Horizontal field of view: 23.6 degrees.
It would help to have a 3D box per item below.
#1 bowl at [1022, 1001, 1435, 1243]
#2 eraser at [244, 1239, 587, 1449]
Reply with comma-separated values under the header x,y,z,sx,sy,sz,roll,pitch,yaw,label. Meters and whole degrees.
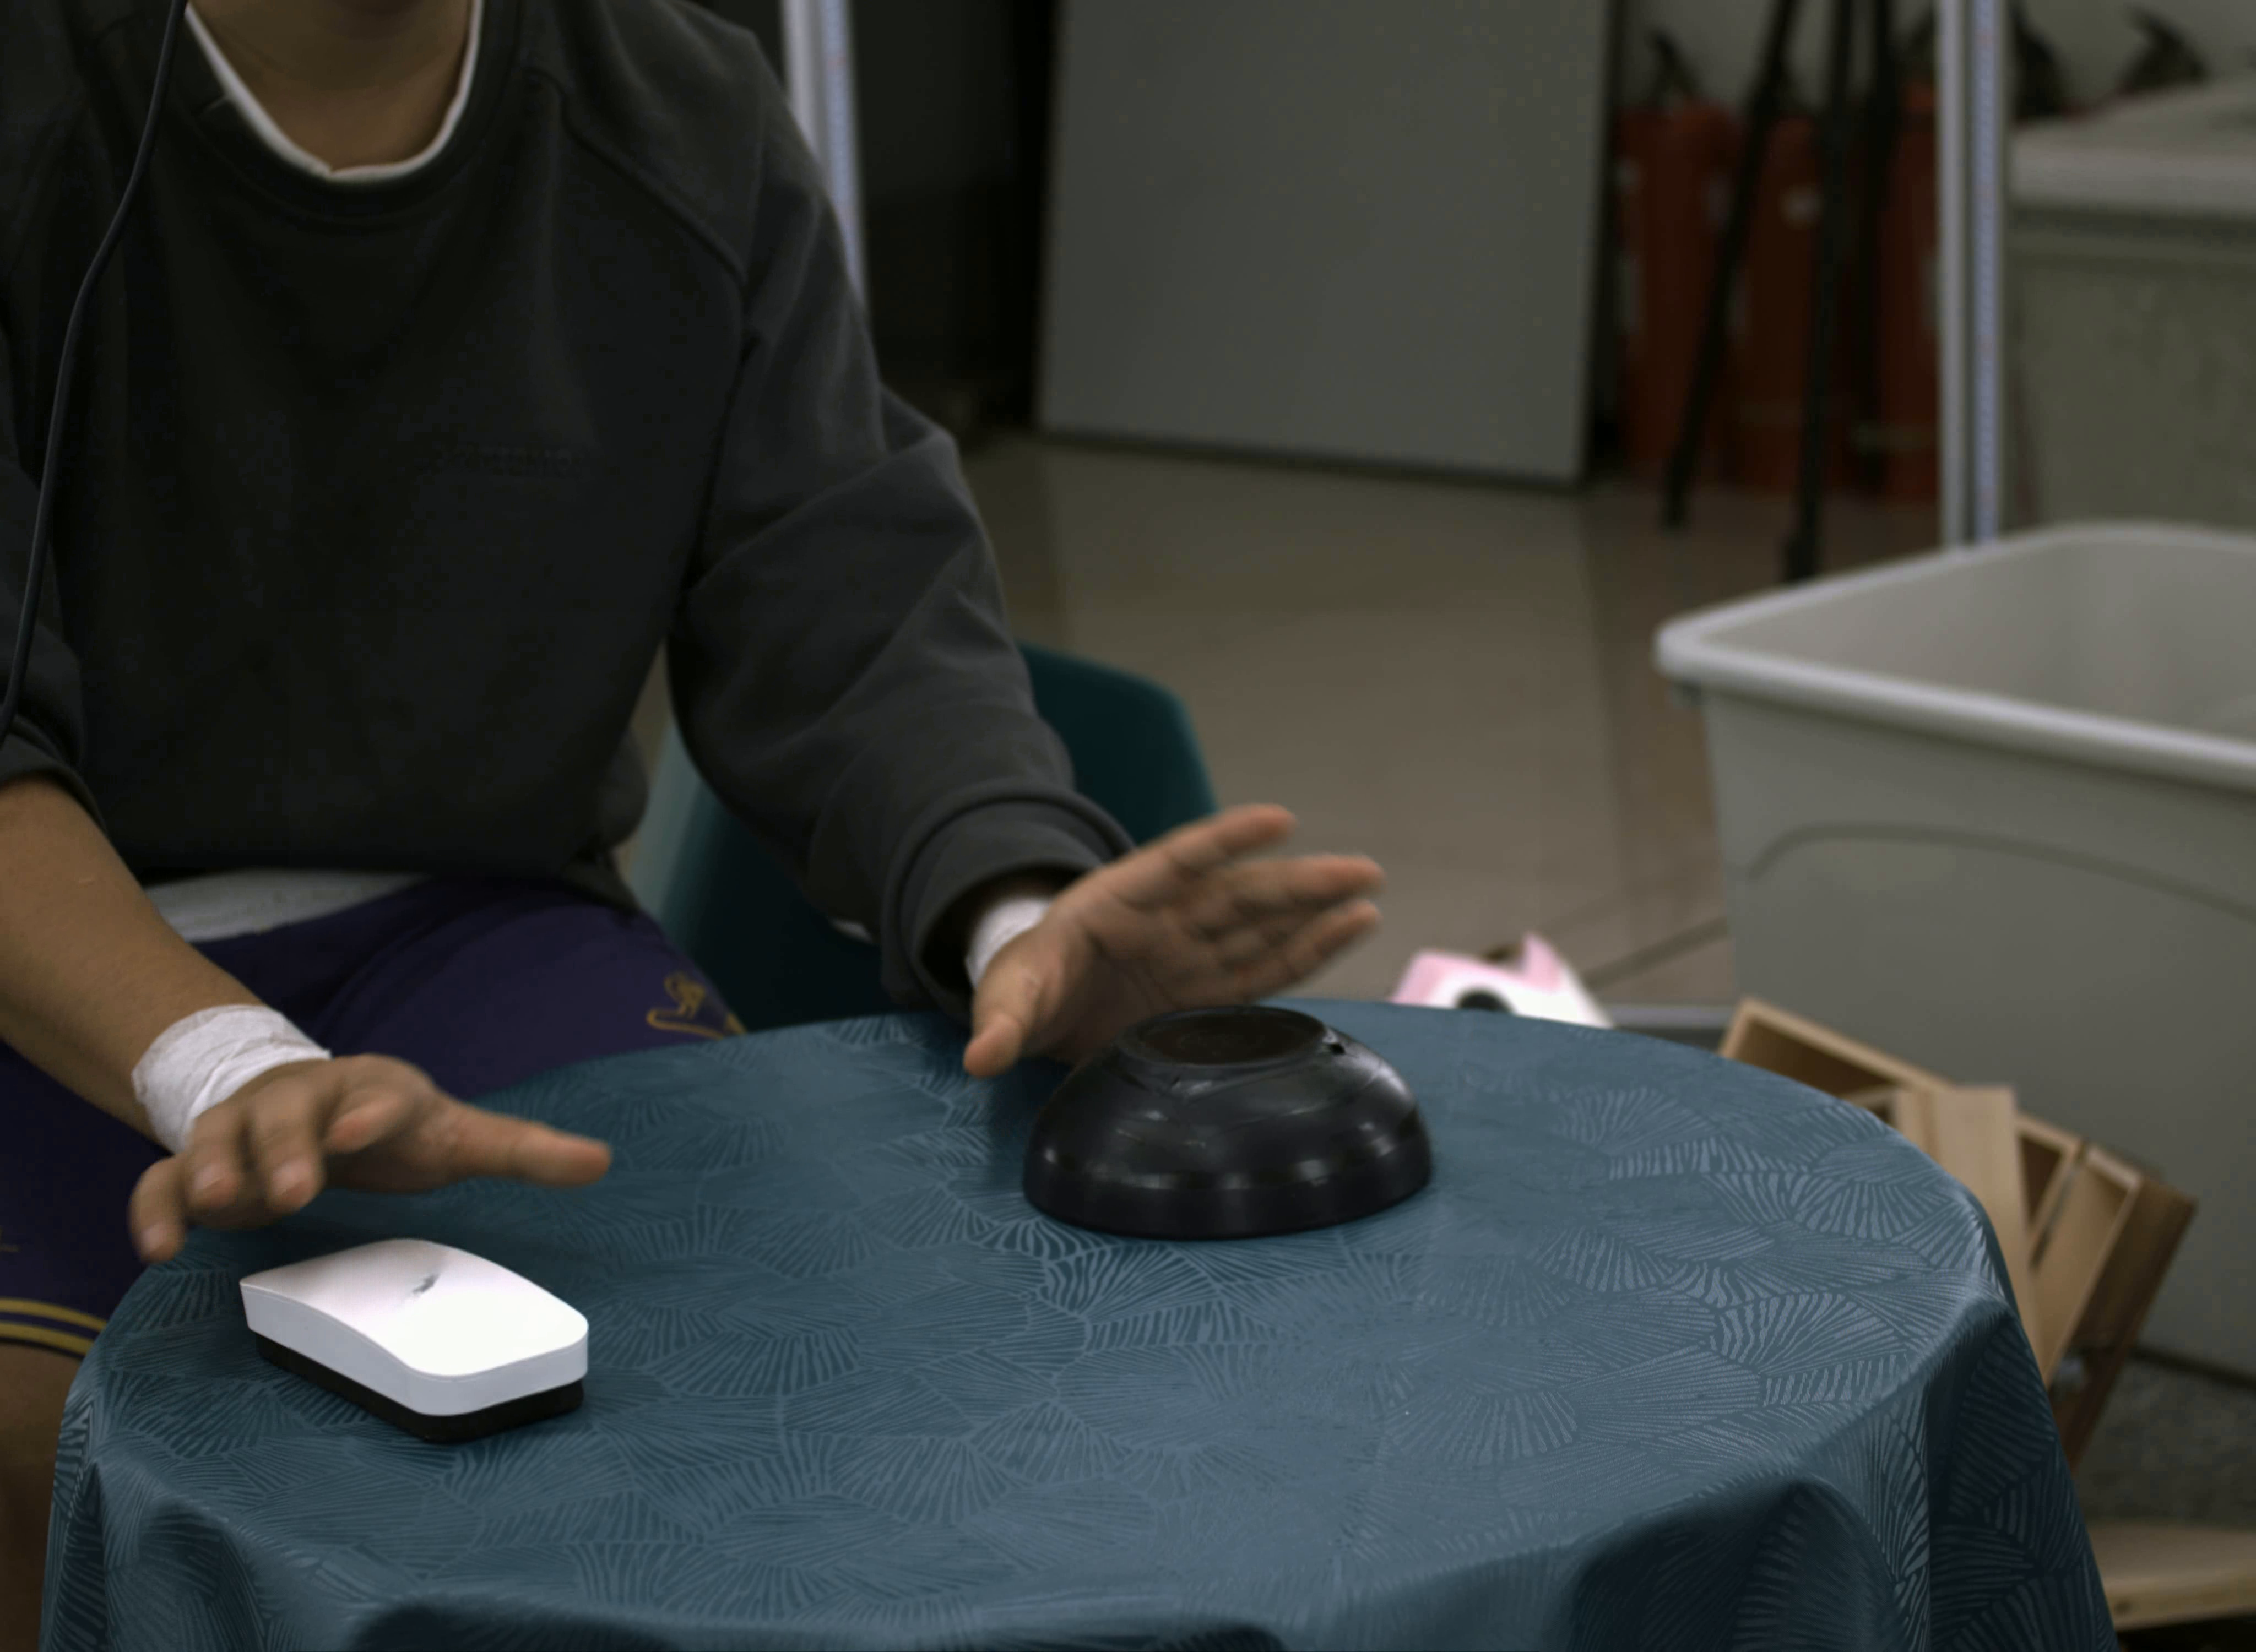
x,y,z,sx,sy,sz,roll,pitch,yaw,label
0.032,0.091,1.773,0.138,0.050,0.140,-4,15,0,bowl
-0.214,0.152,1.635,0.062,0.035,0.133,-11,16,-32,eraser
